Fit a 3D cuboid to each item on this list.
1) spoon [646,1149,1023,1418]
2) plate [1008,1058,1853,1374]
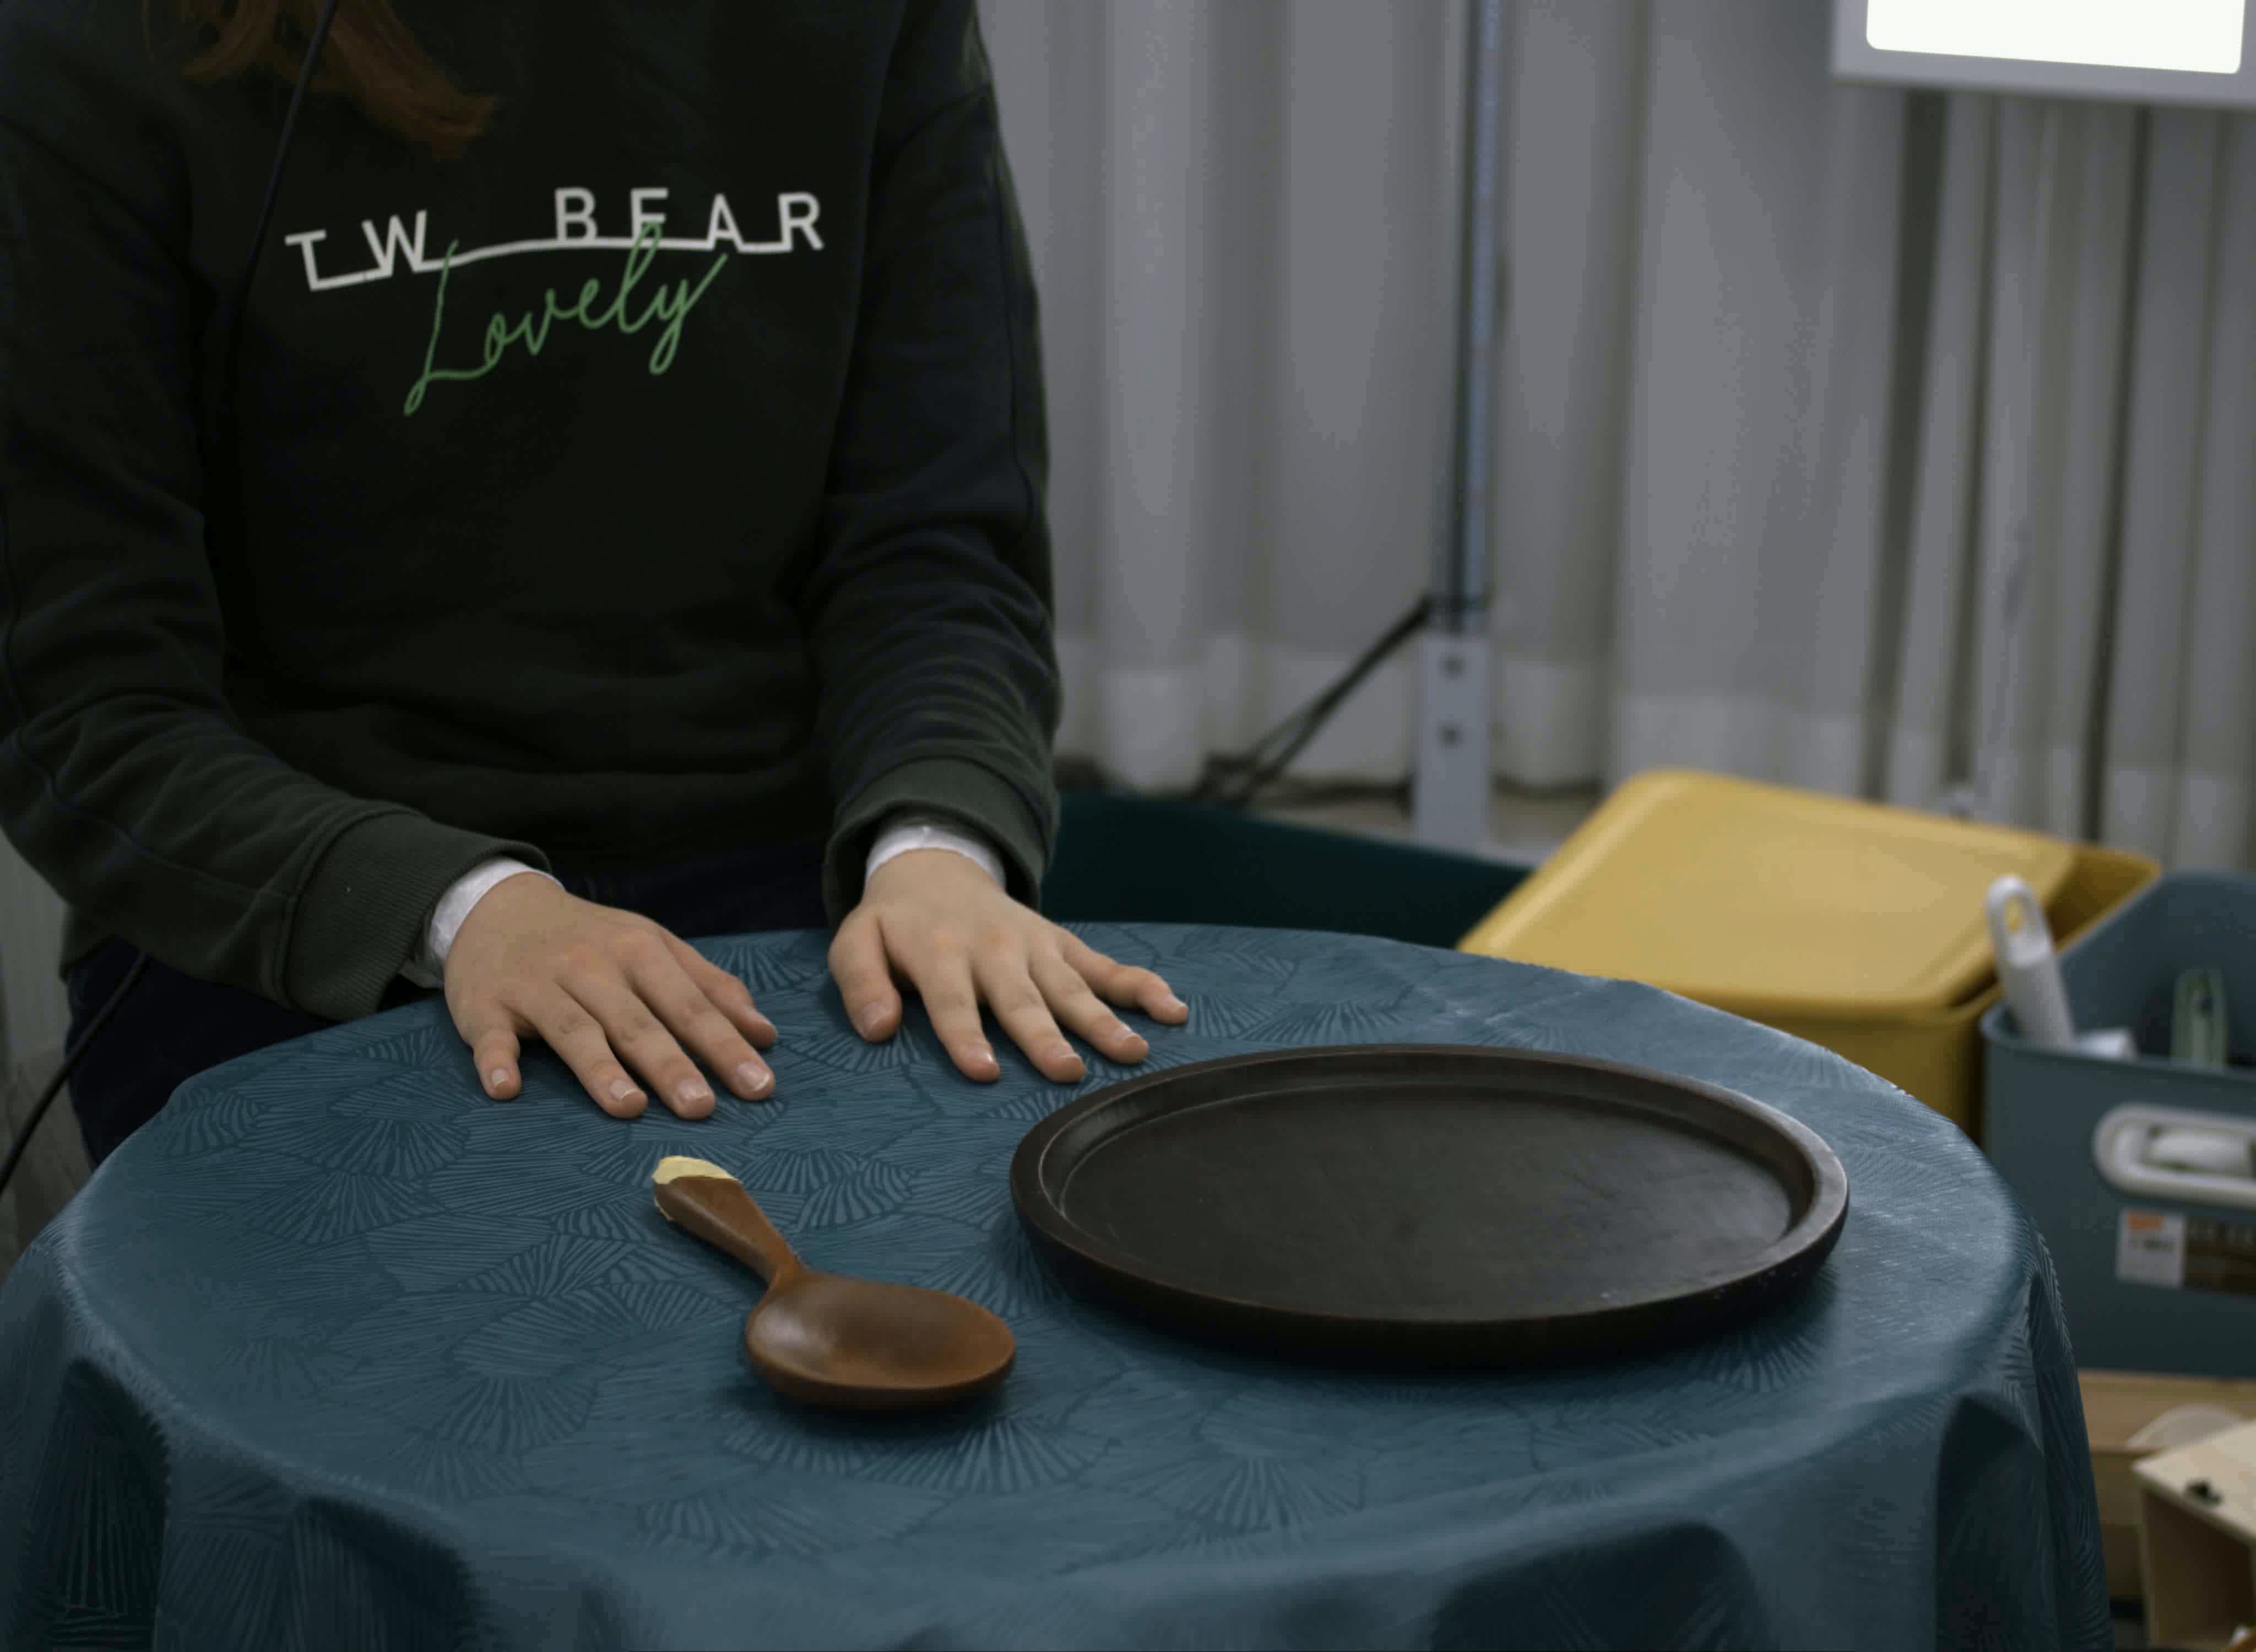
[{"bbox_3d":[-0.094,0.132,1.520,0.076,0.017,0.213,-7,18,-24],"label":"spoon"},{"bbox_3d":[0.090,0.114,1.585,0.254,0.029,0.253,2,16,0],"label":"plate"}]
